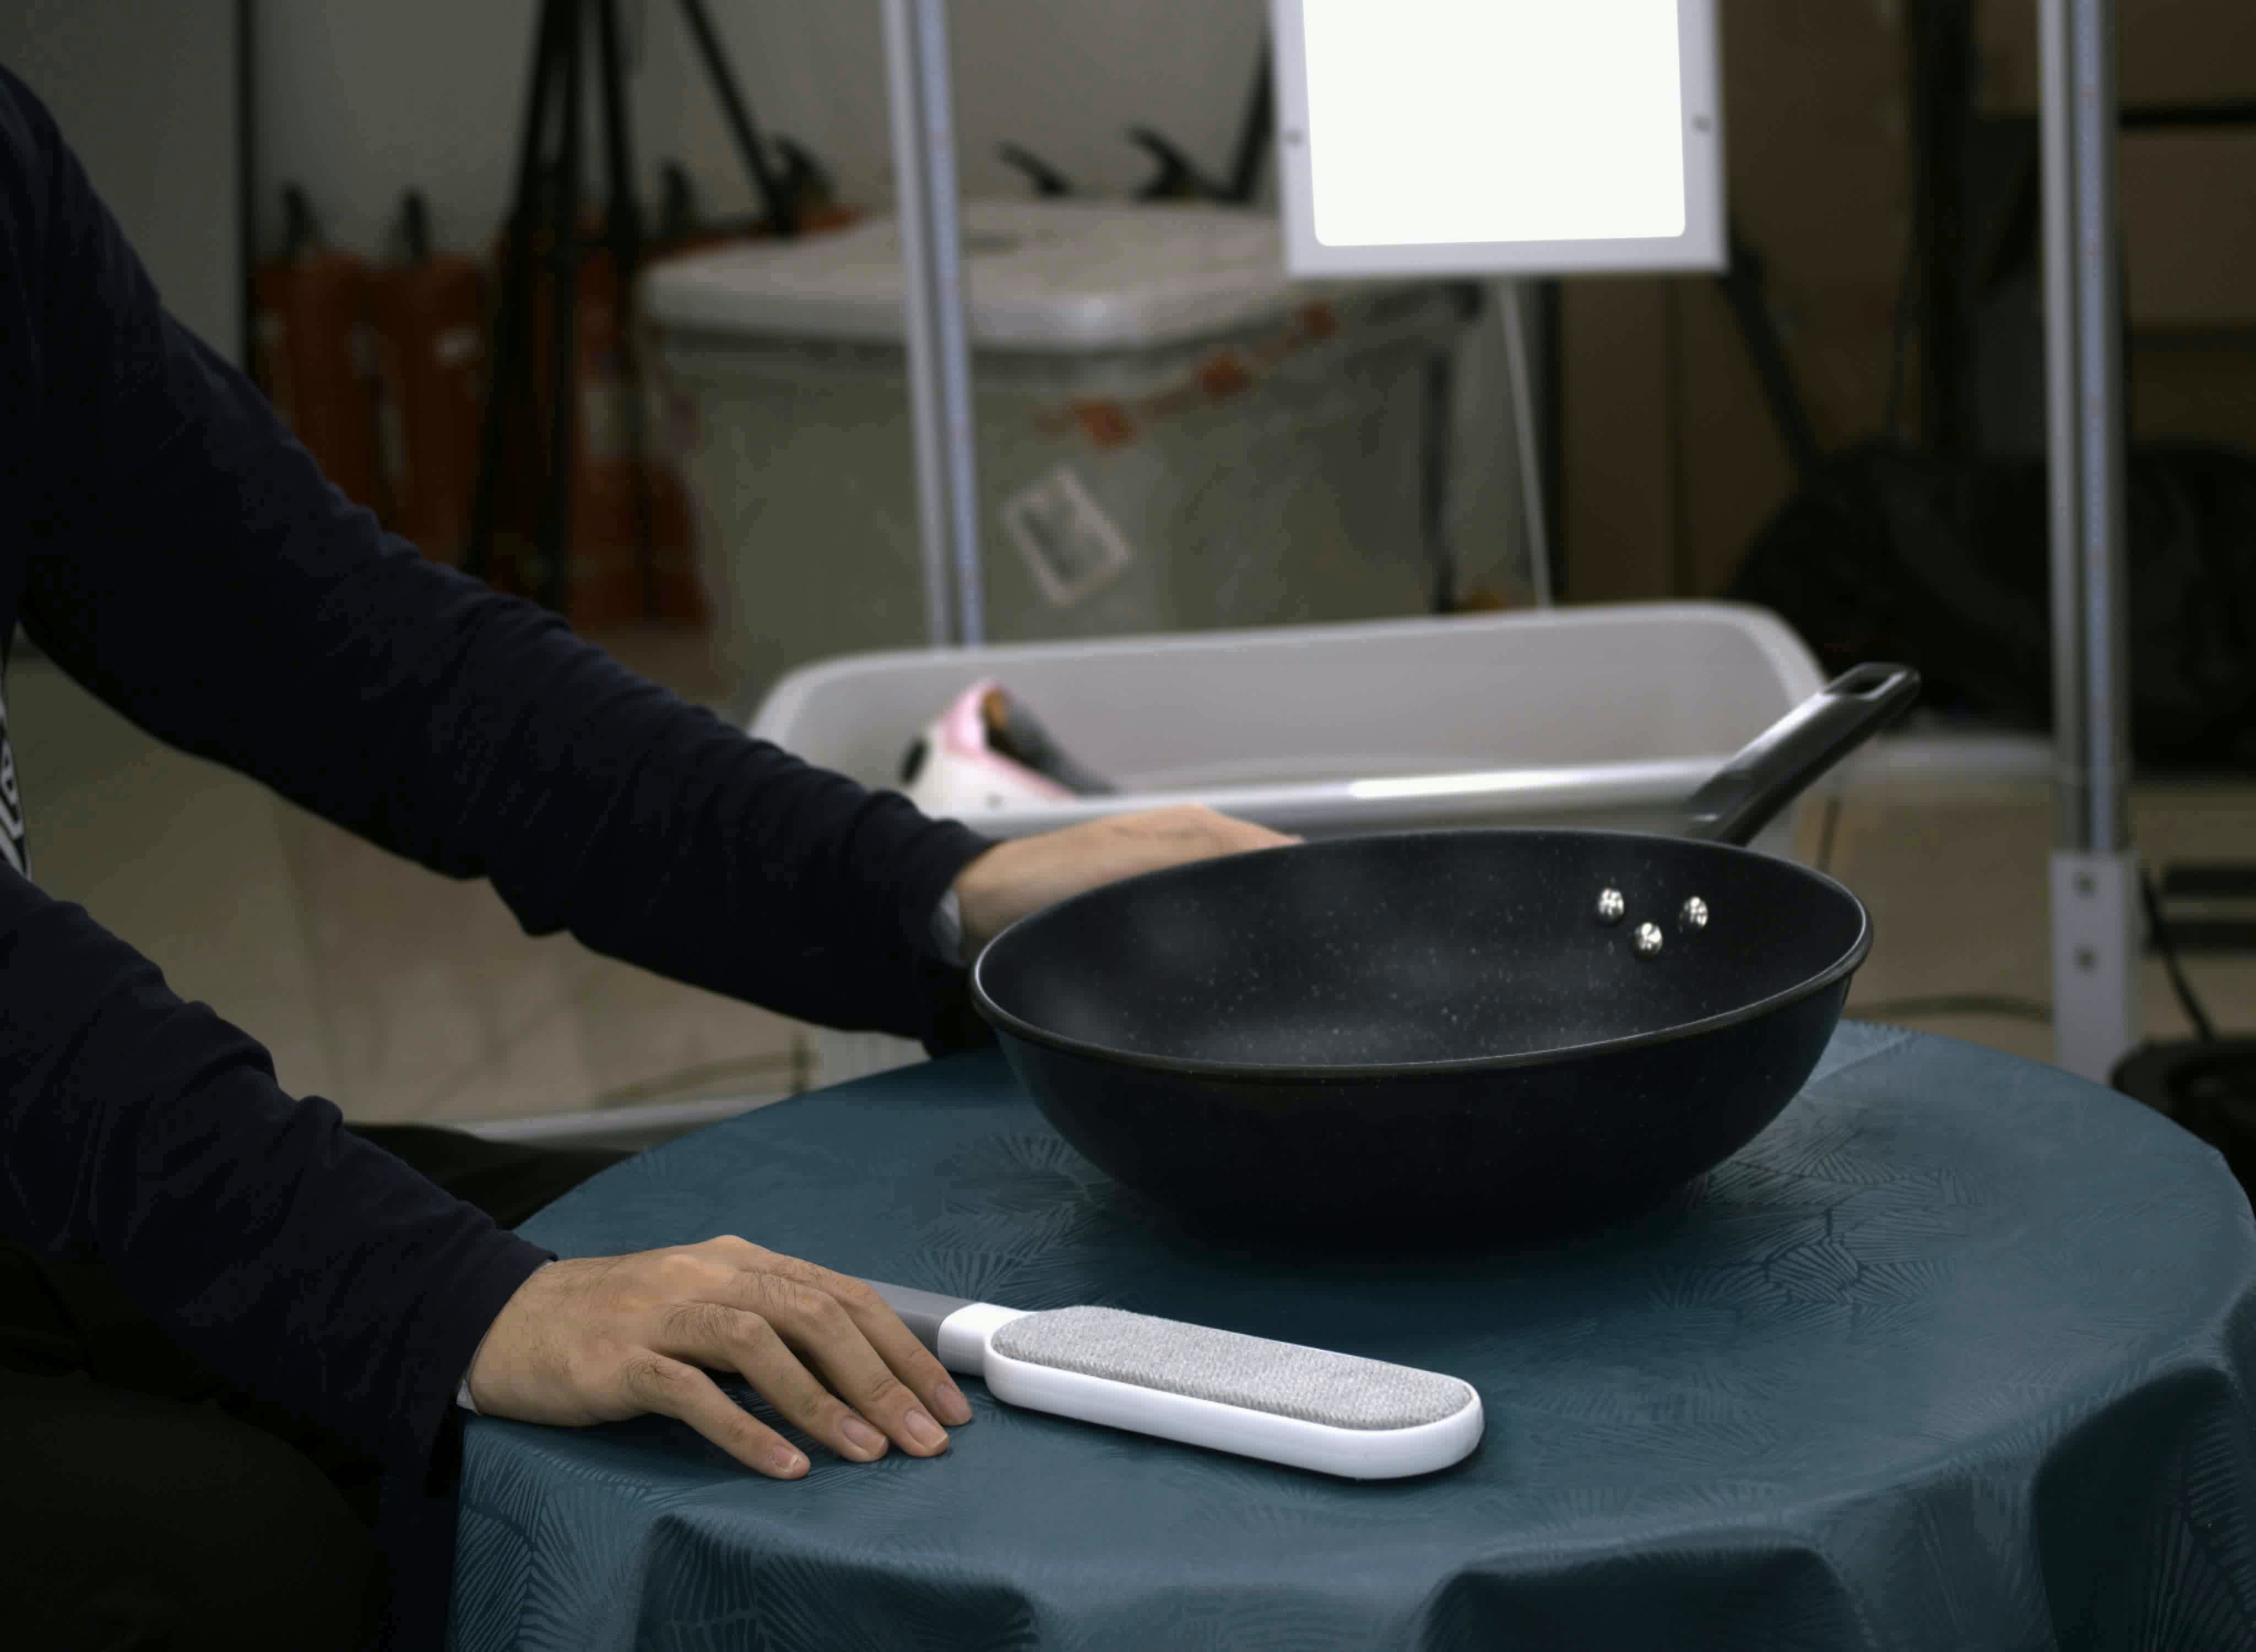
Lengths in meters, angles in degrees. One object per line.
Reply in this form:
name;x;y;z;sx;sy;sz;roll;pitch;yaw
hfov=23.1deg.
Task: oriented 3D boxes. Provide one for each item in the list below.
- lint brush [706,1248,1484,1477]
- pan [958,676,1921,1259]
lint brush;-0.017;0.162;1.708;0.315;0.021;0.058;7;24;42
pan;0.150;0.050;1.932;0.317;0.112;0.465;8;19;39
